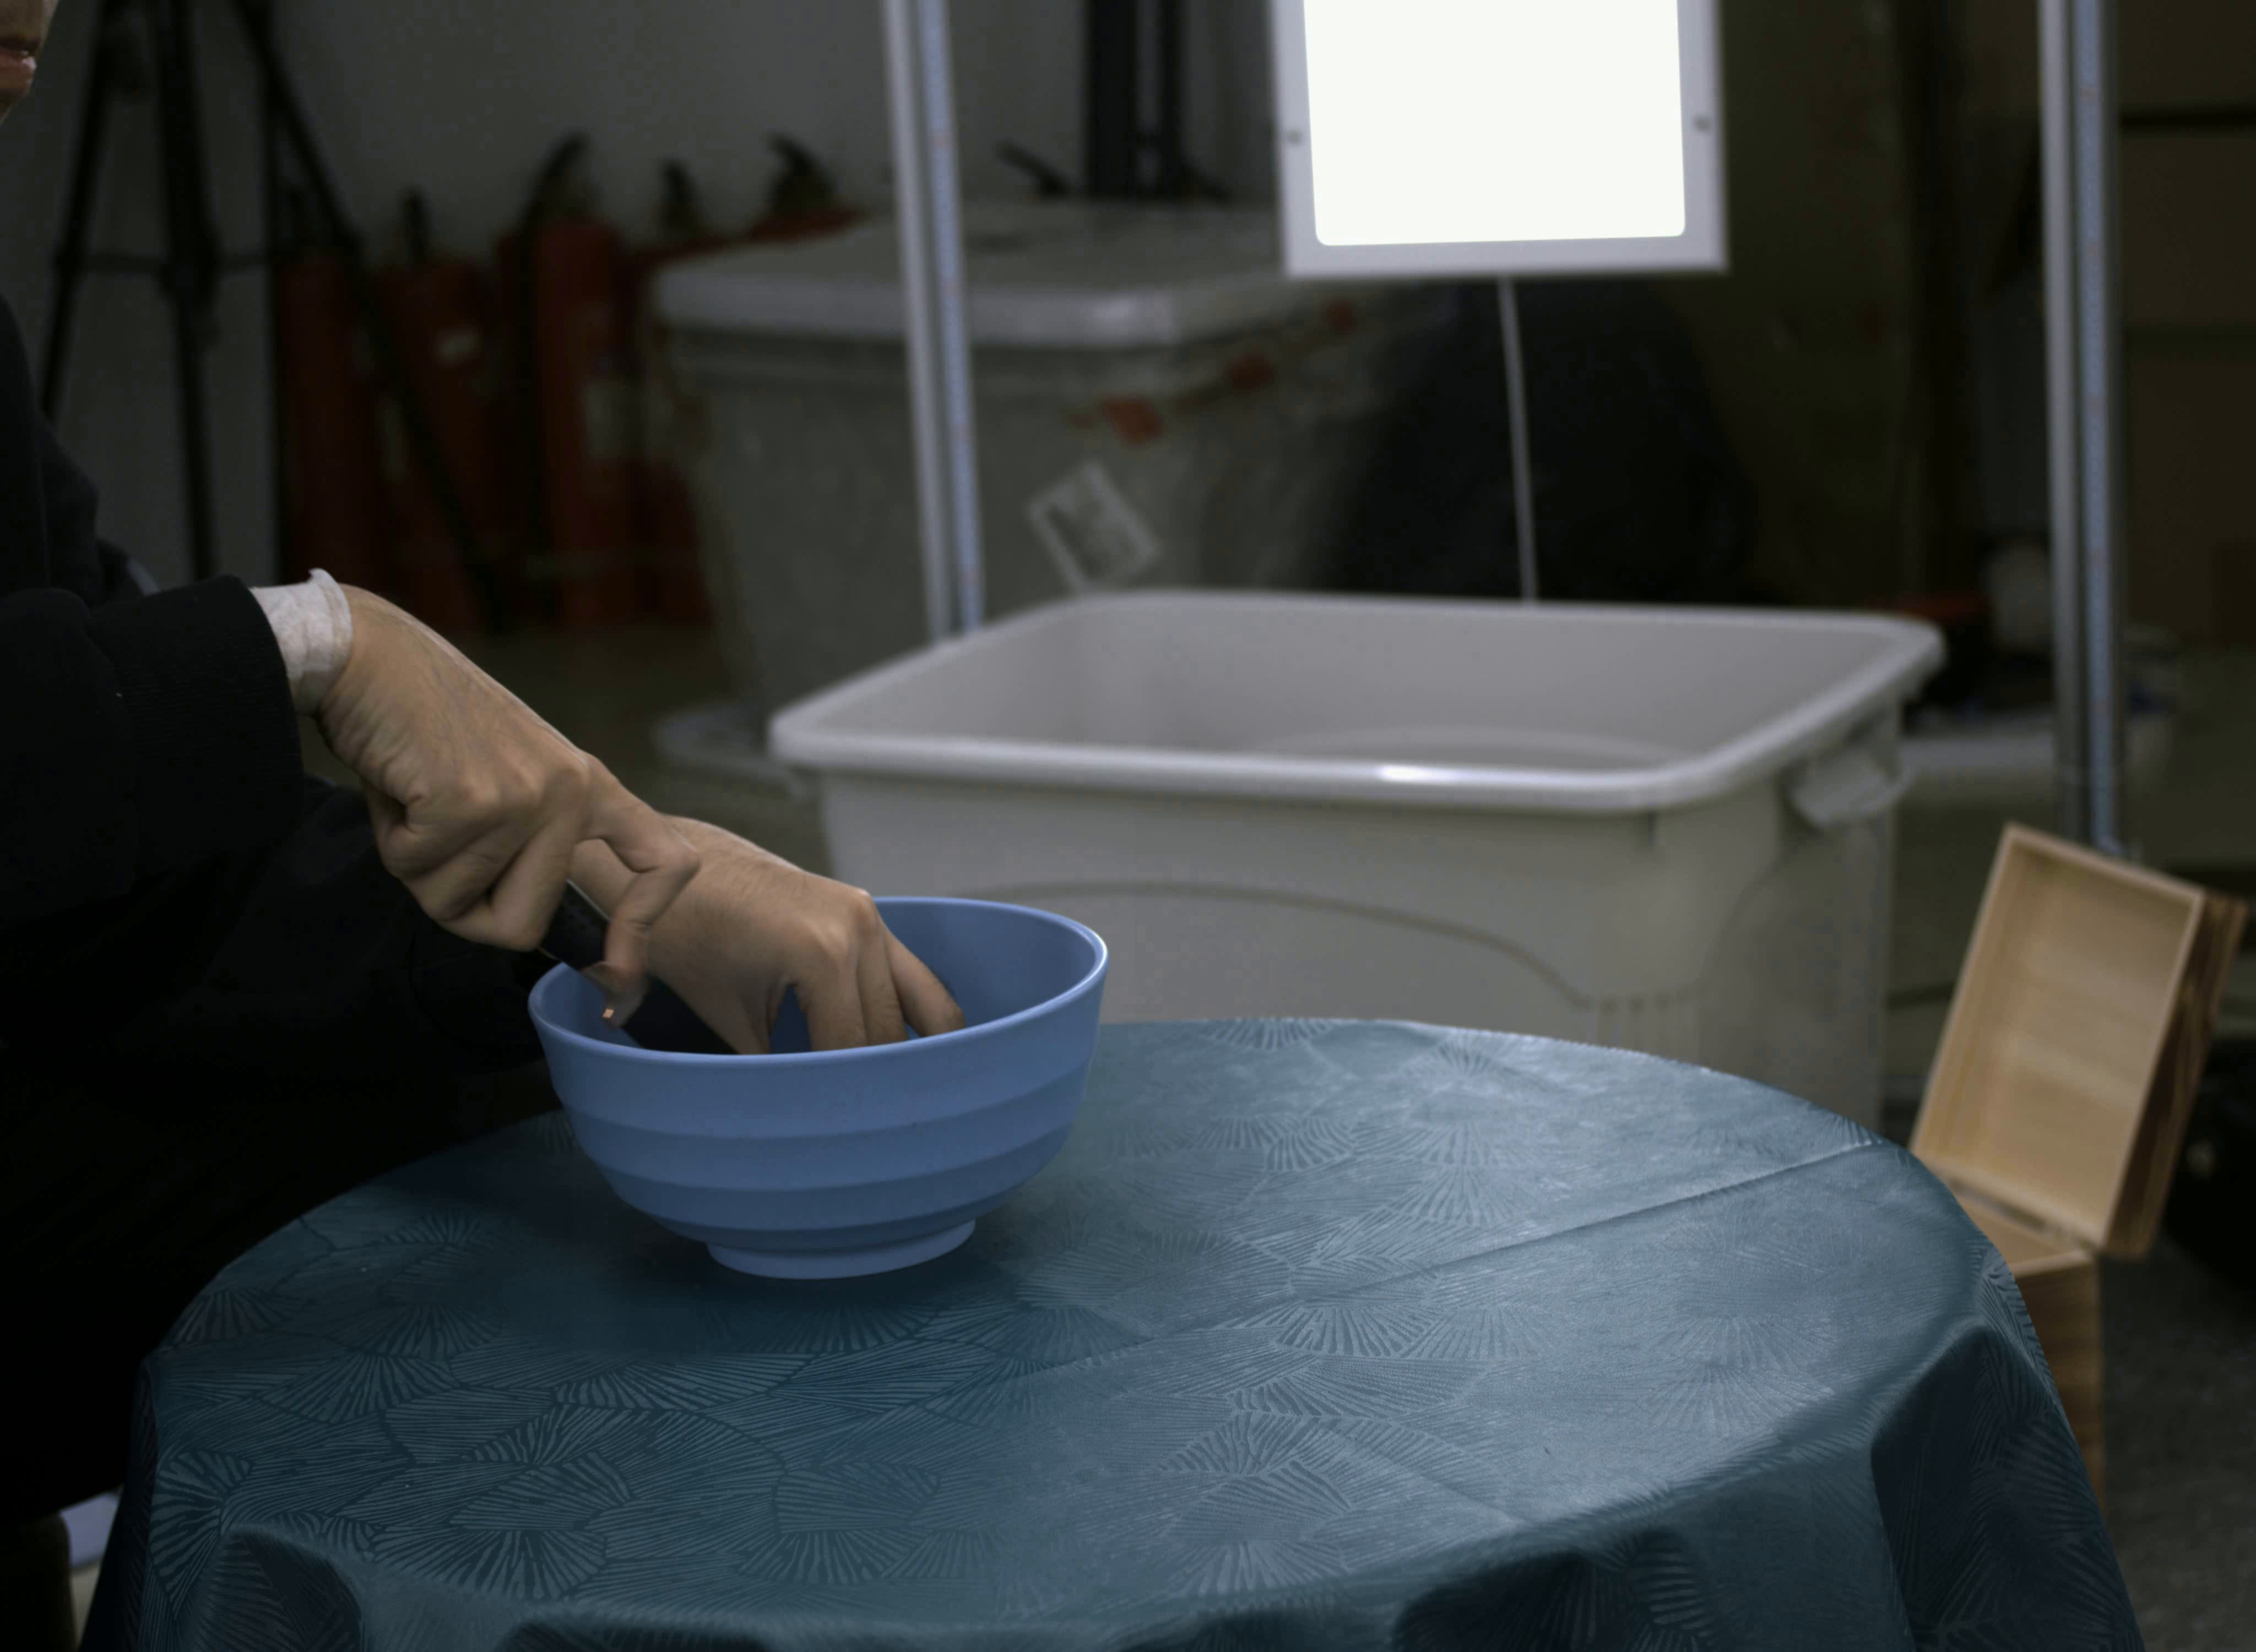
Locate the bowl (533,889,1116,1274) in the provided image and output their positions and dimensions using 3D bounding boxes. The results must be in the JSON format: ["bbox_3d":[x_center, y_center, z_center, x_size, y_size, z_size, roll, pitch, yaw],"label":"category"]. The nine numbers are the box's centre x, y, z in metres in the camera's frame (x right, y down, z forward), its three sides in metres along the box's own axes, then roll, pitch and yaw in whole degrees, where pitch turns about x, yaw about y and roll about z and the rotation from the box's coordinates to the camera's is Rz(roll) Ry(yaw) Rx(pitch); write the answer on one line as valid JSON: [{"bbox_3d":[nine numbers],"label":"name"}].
[{"bbox_3d":[-0.101,0.092,1.864,0.196,0.096,0.196,-2,14,-1],"label":"bowl"}]

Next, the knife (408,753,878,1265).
[{"bbox_3d":[-0.157,0.061,1.824,0.026,0.225,0.017,-44,7,1],"label":"knife"}]
